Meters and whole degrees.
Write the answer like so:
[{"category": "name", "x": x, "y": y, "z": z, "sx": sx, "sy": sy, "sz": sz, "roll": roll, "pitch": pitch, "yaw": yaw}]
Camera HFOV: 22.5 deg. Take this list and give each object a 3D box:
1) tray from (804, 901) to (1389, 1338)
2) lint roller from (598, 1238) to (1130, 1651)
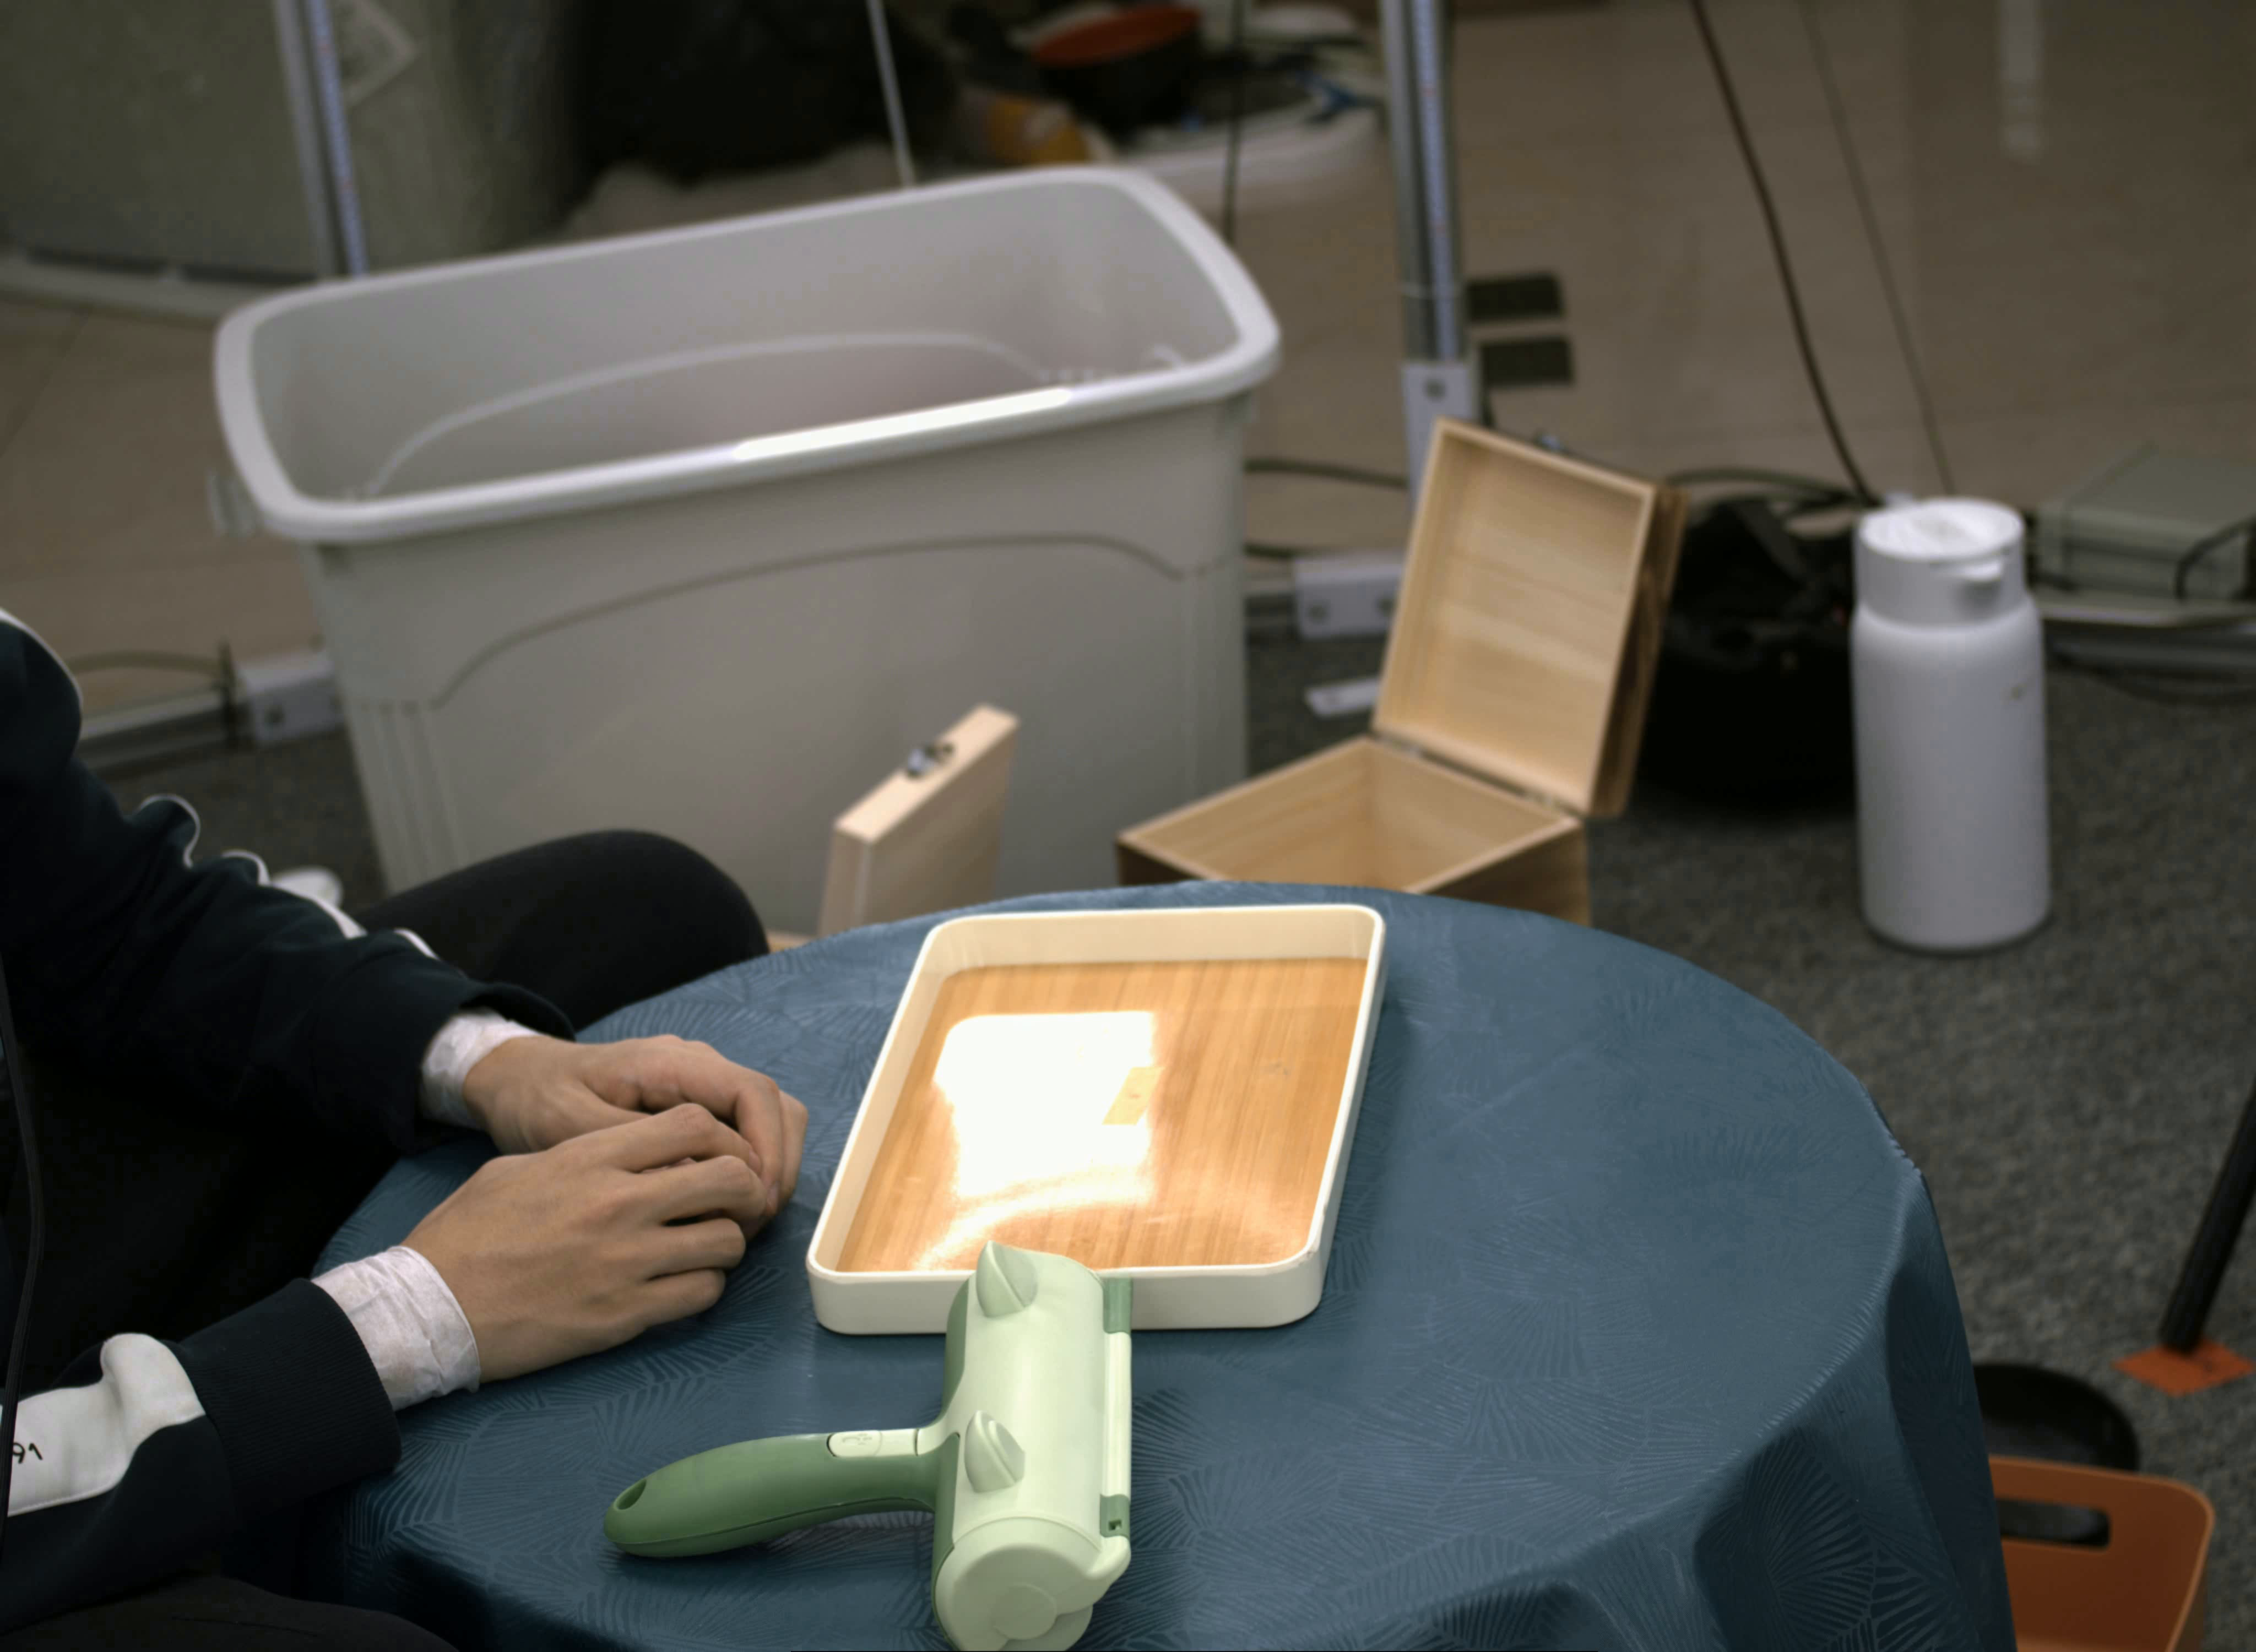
[{"category": "tray", "x": -0.006, "y": 0.109, "z": 2.178, "sx": 0.191, "sy": 0.028, "sz": 0.296, "roll": -2, "pitch": 25, "yaw": 10}, {"category": "lint roller", "x": -0.091, "y": 0.206, "z": 1.930, "sx": 0.183, "sy": 0.083, "sz": 0.195, "roll": -1, "pitch": 25, "yaw": 1}]
